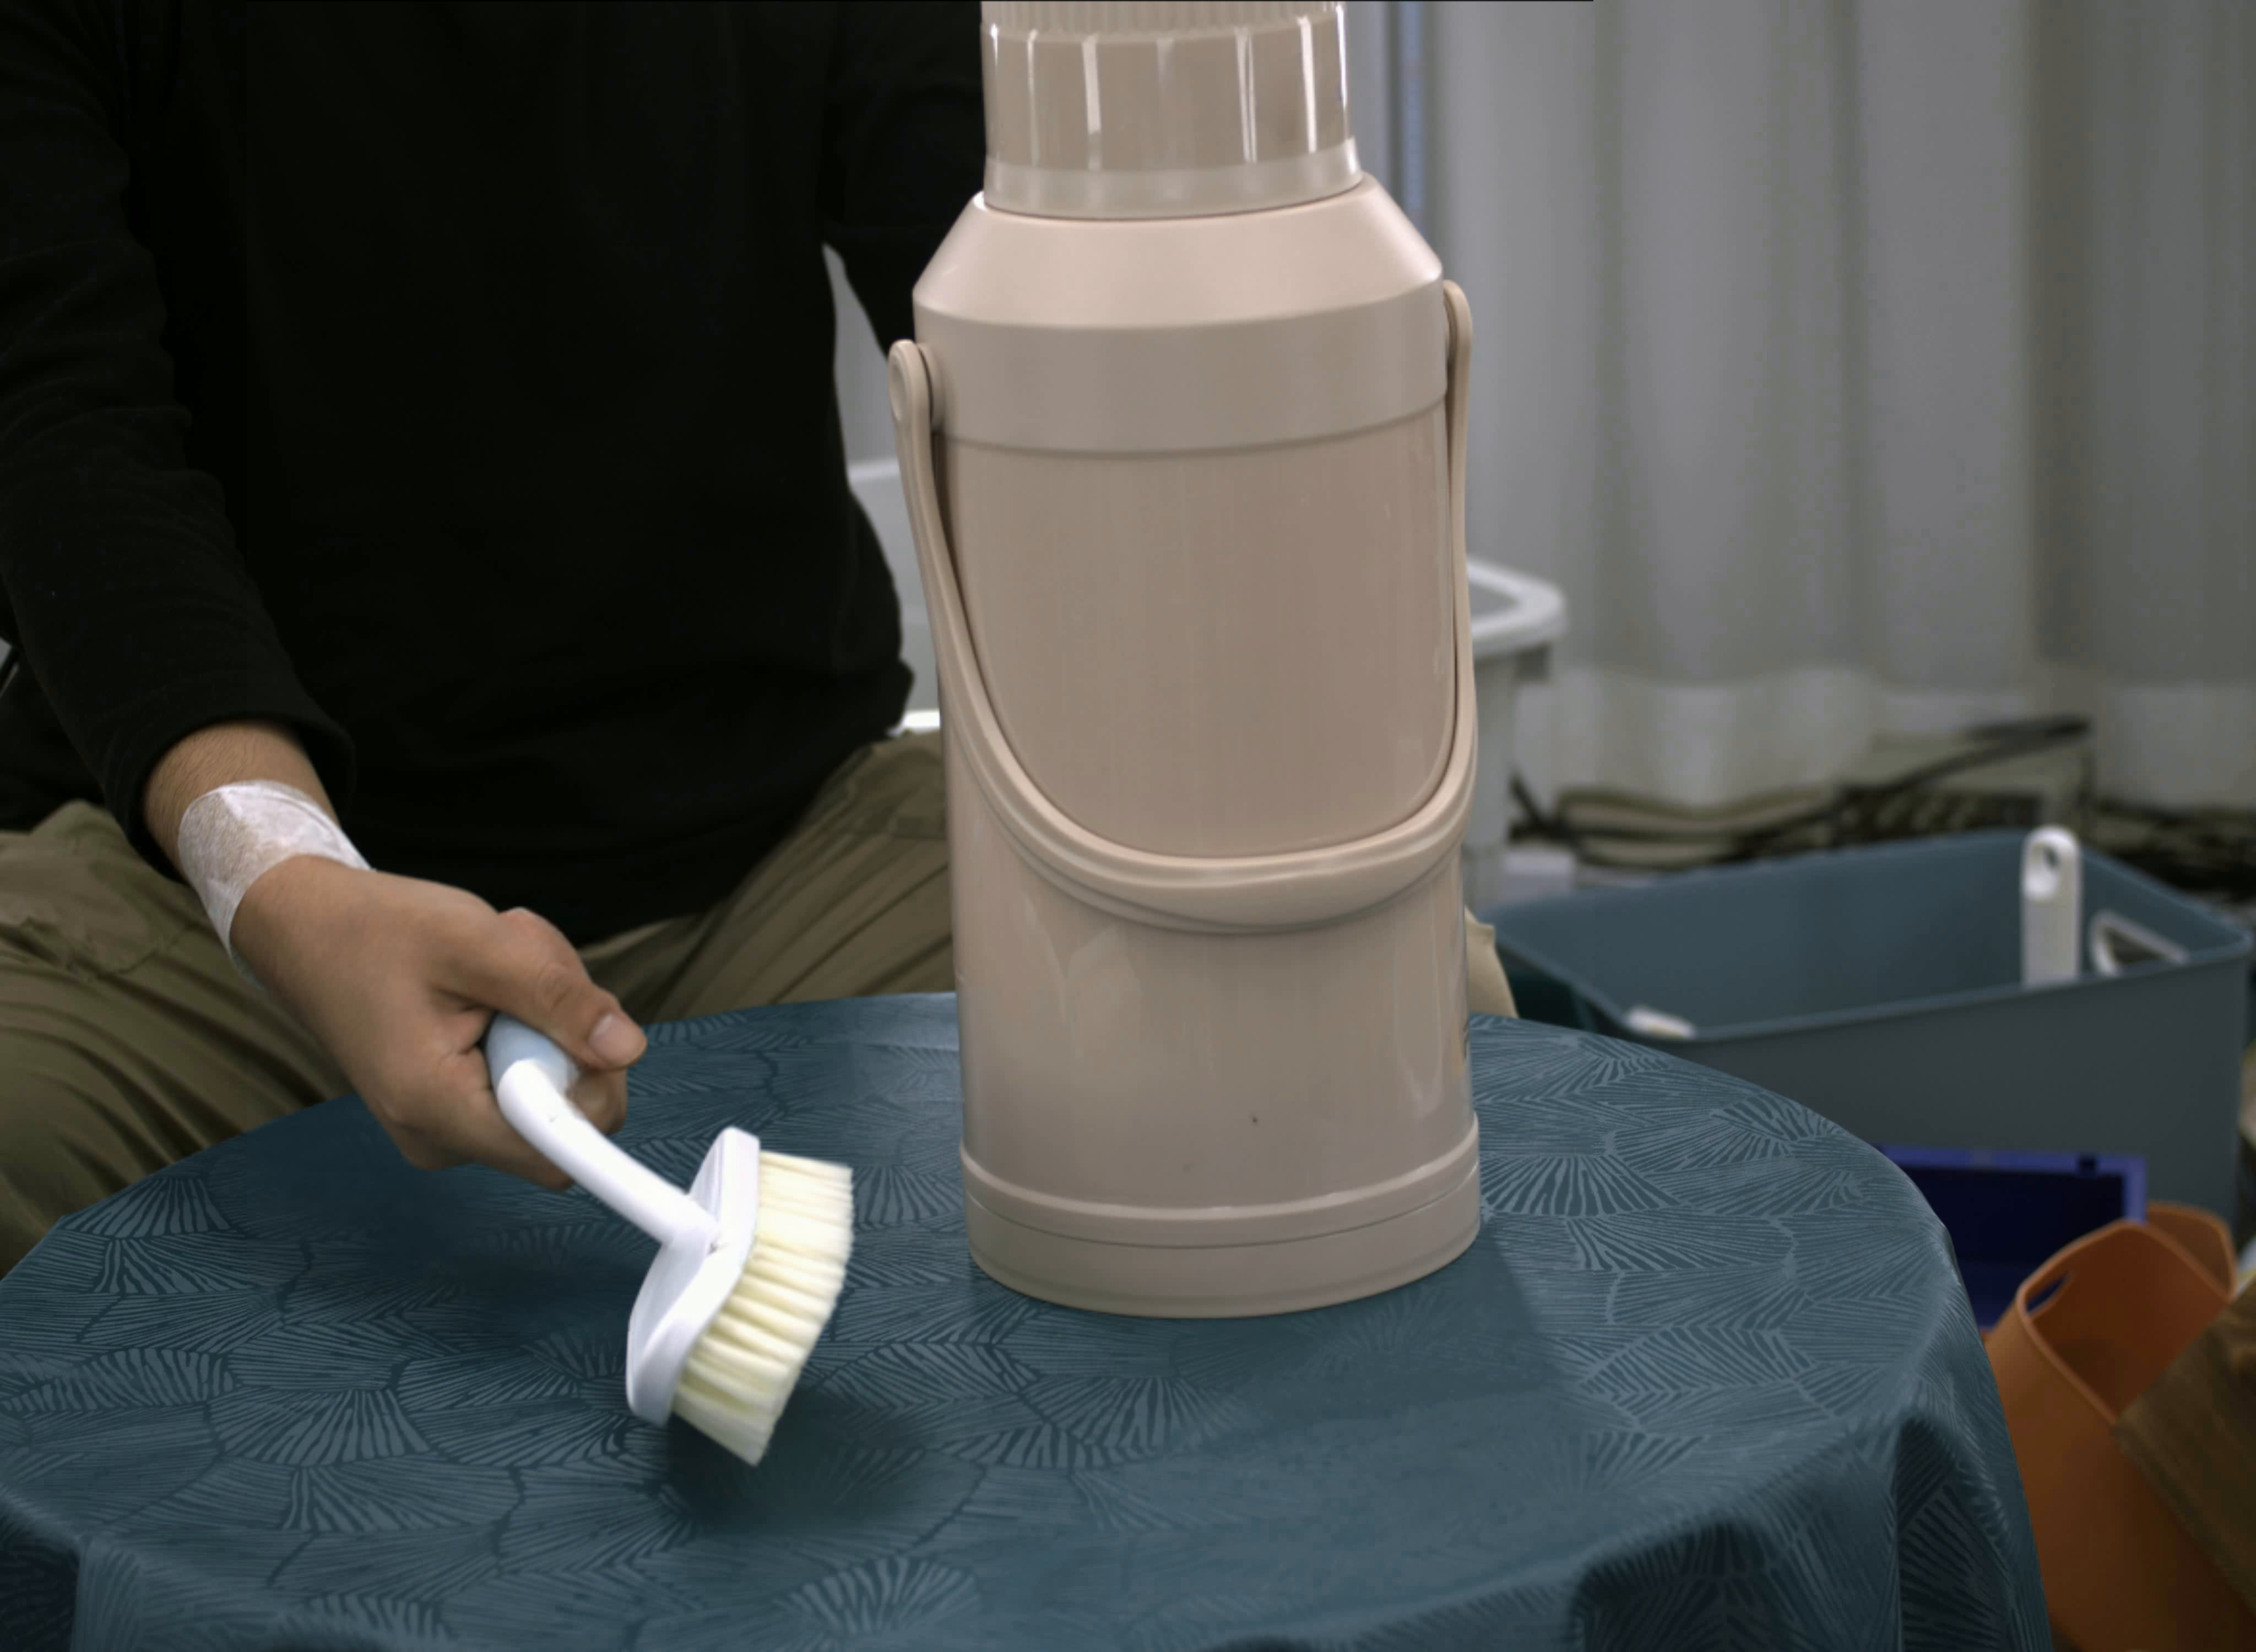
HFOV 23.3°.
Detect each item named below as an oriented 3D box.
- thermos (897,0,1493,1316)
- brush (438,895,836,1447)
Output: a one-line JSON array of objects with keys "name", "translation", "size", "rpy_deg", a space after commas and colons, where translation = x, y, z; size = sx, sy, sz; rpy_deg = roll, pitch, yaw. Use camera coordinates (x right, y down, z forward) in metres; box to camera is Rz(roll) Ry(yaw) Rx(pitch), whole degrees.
[{"name": "thermos", "translation": [0.019, -0.071, 1.642], "size": [0.174, 0.404, 0.208], "rpy_deg": [-9, 15, -18]}, {"name": "brush", "translation": [-0.133, 0.093, 1.598], "size": [0.083, 0.084, 0.329], "rpy_deg": [-28, 24, -4]}]
